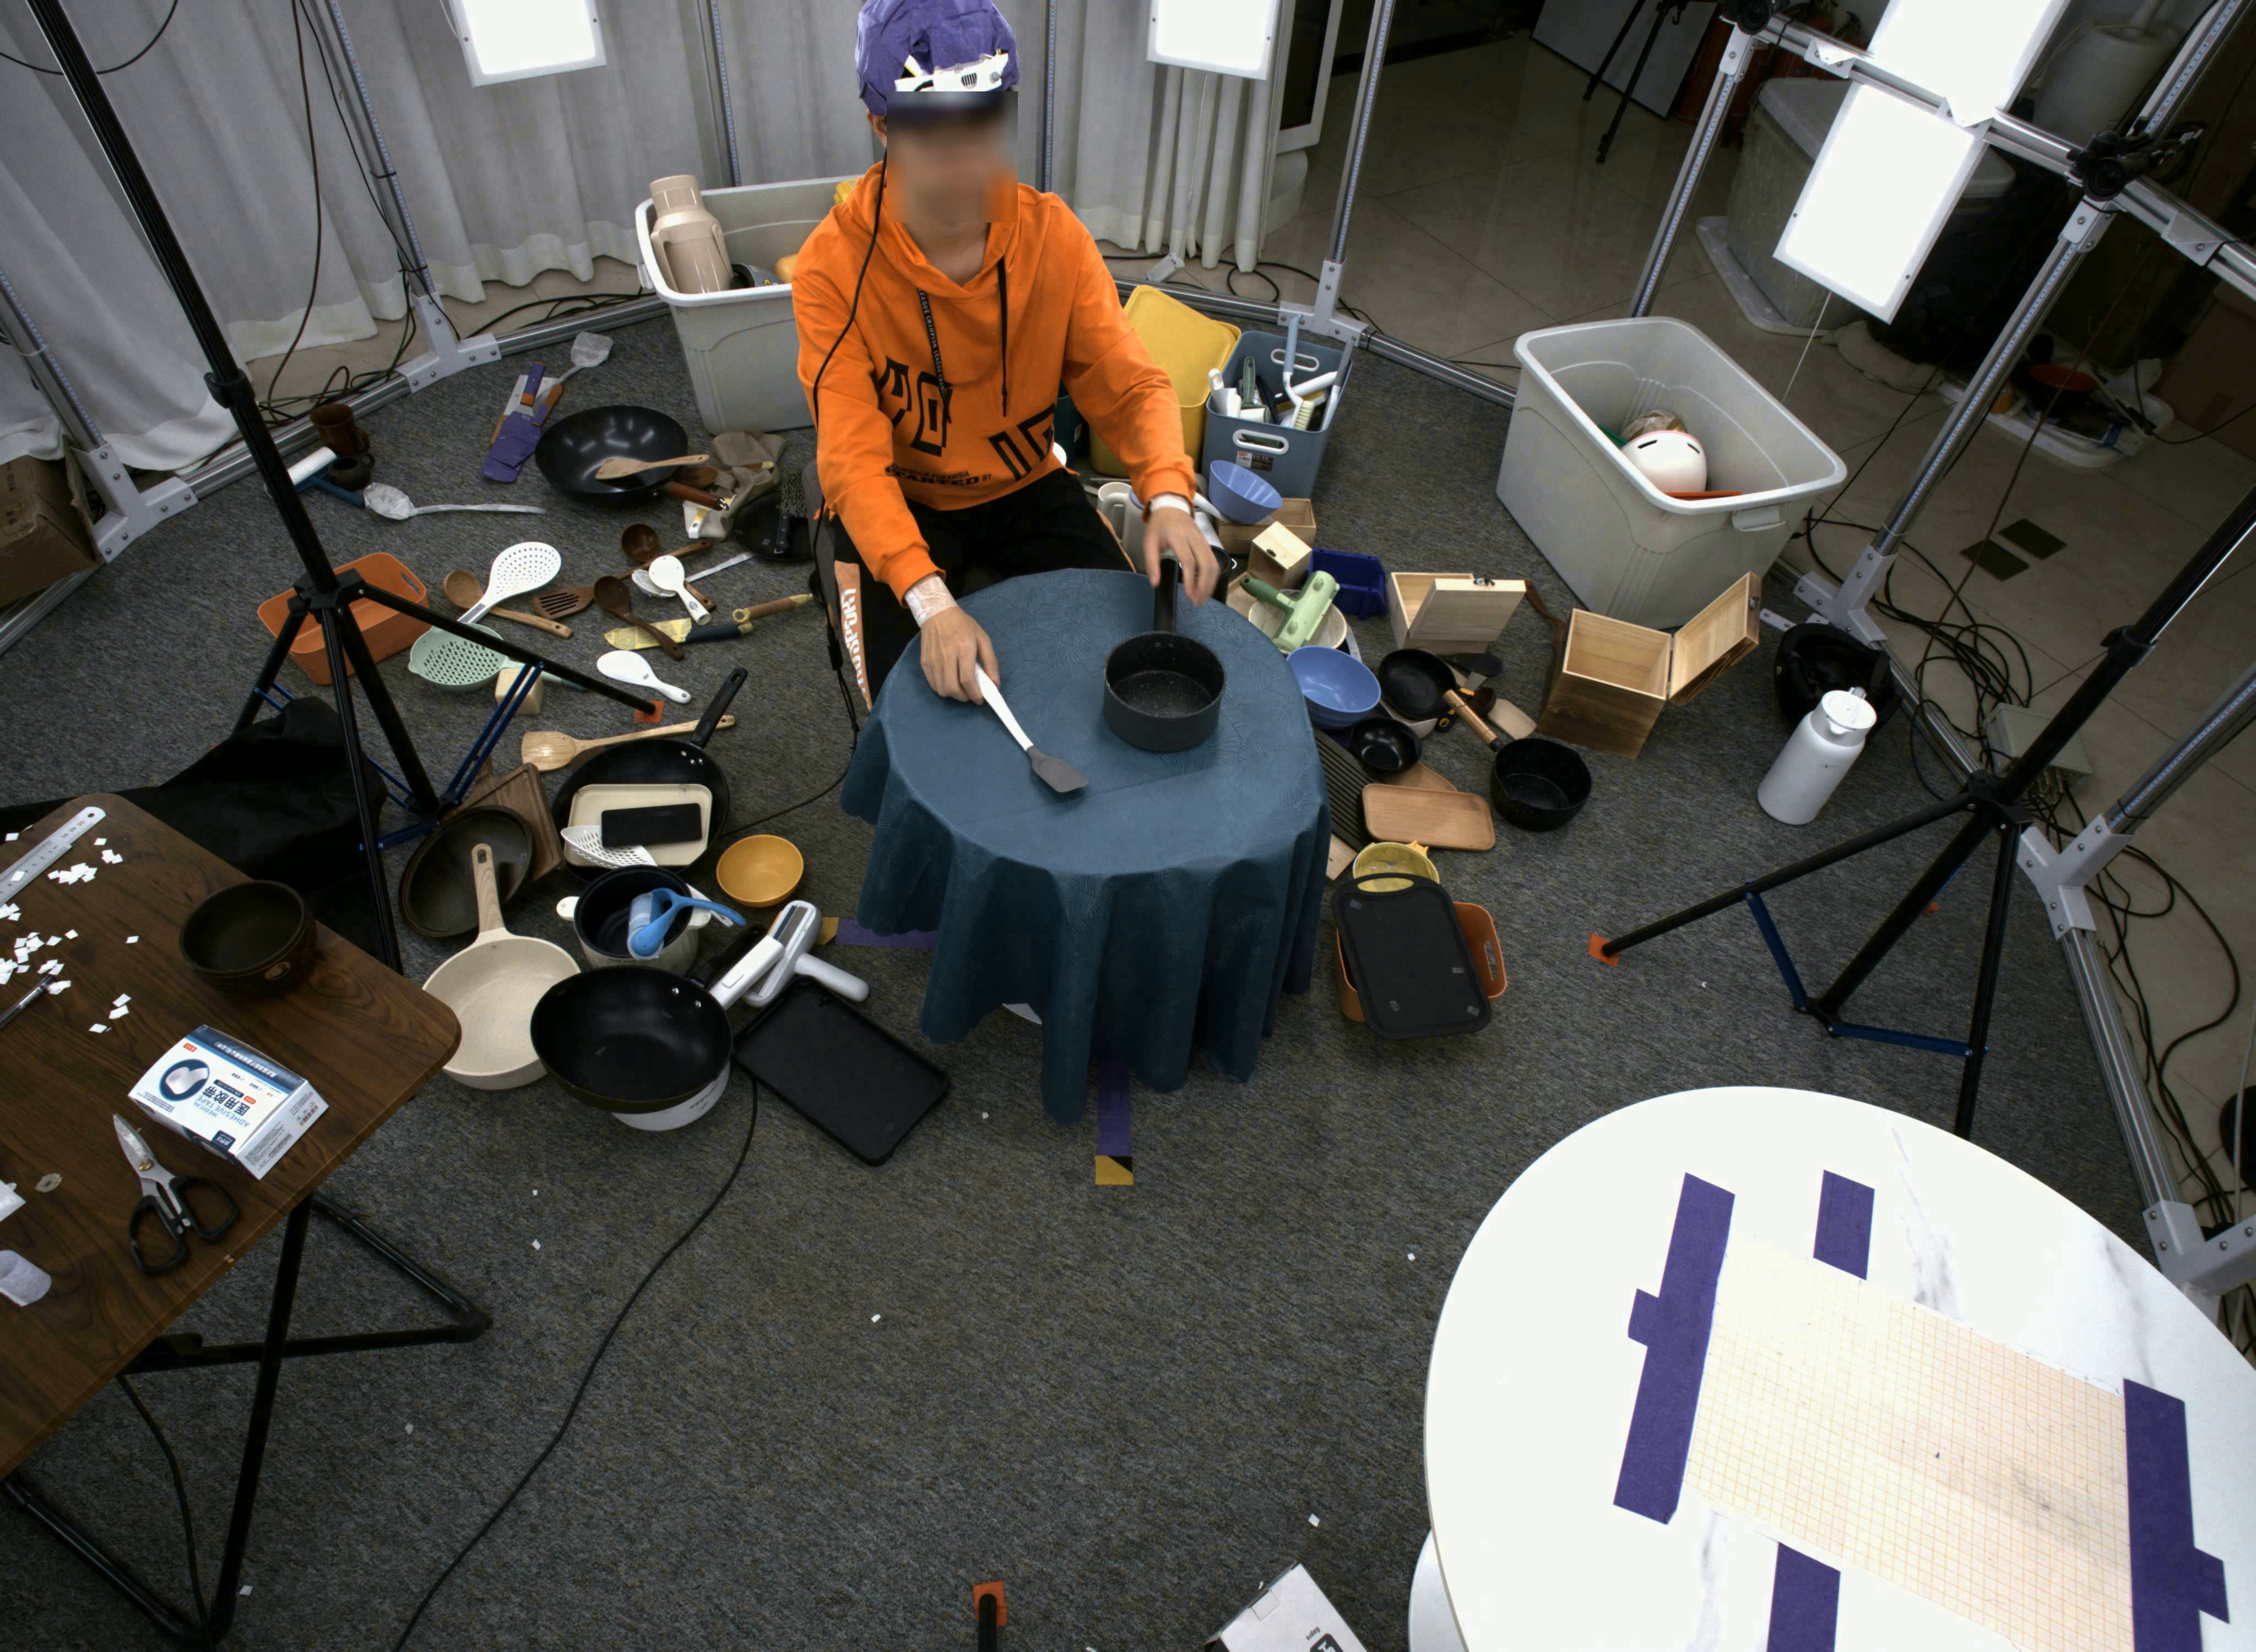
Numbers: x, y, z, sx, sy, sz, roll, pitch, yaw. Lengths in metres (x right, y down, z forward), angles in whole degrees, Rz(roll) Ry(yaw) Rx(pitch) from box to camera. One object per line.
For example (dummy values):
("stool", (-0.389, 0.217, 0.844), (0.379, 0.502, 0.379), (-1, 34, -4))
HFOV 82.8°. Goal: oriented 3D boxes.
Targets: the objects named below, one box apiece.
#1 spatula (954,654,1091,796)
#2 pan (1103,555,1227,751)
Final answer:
("spatula", (-0.151, -0.135, 1.753), (0.059, 0.031, 0.293), (-16, 52, -35))
("pan", (0.055, -0.250, 1.835), (0.172, 0.084, 0.337), (6, 50, 0))
